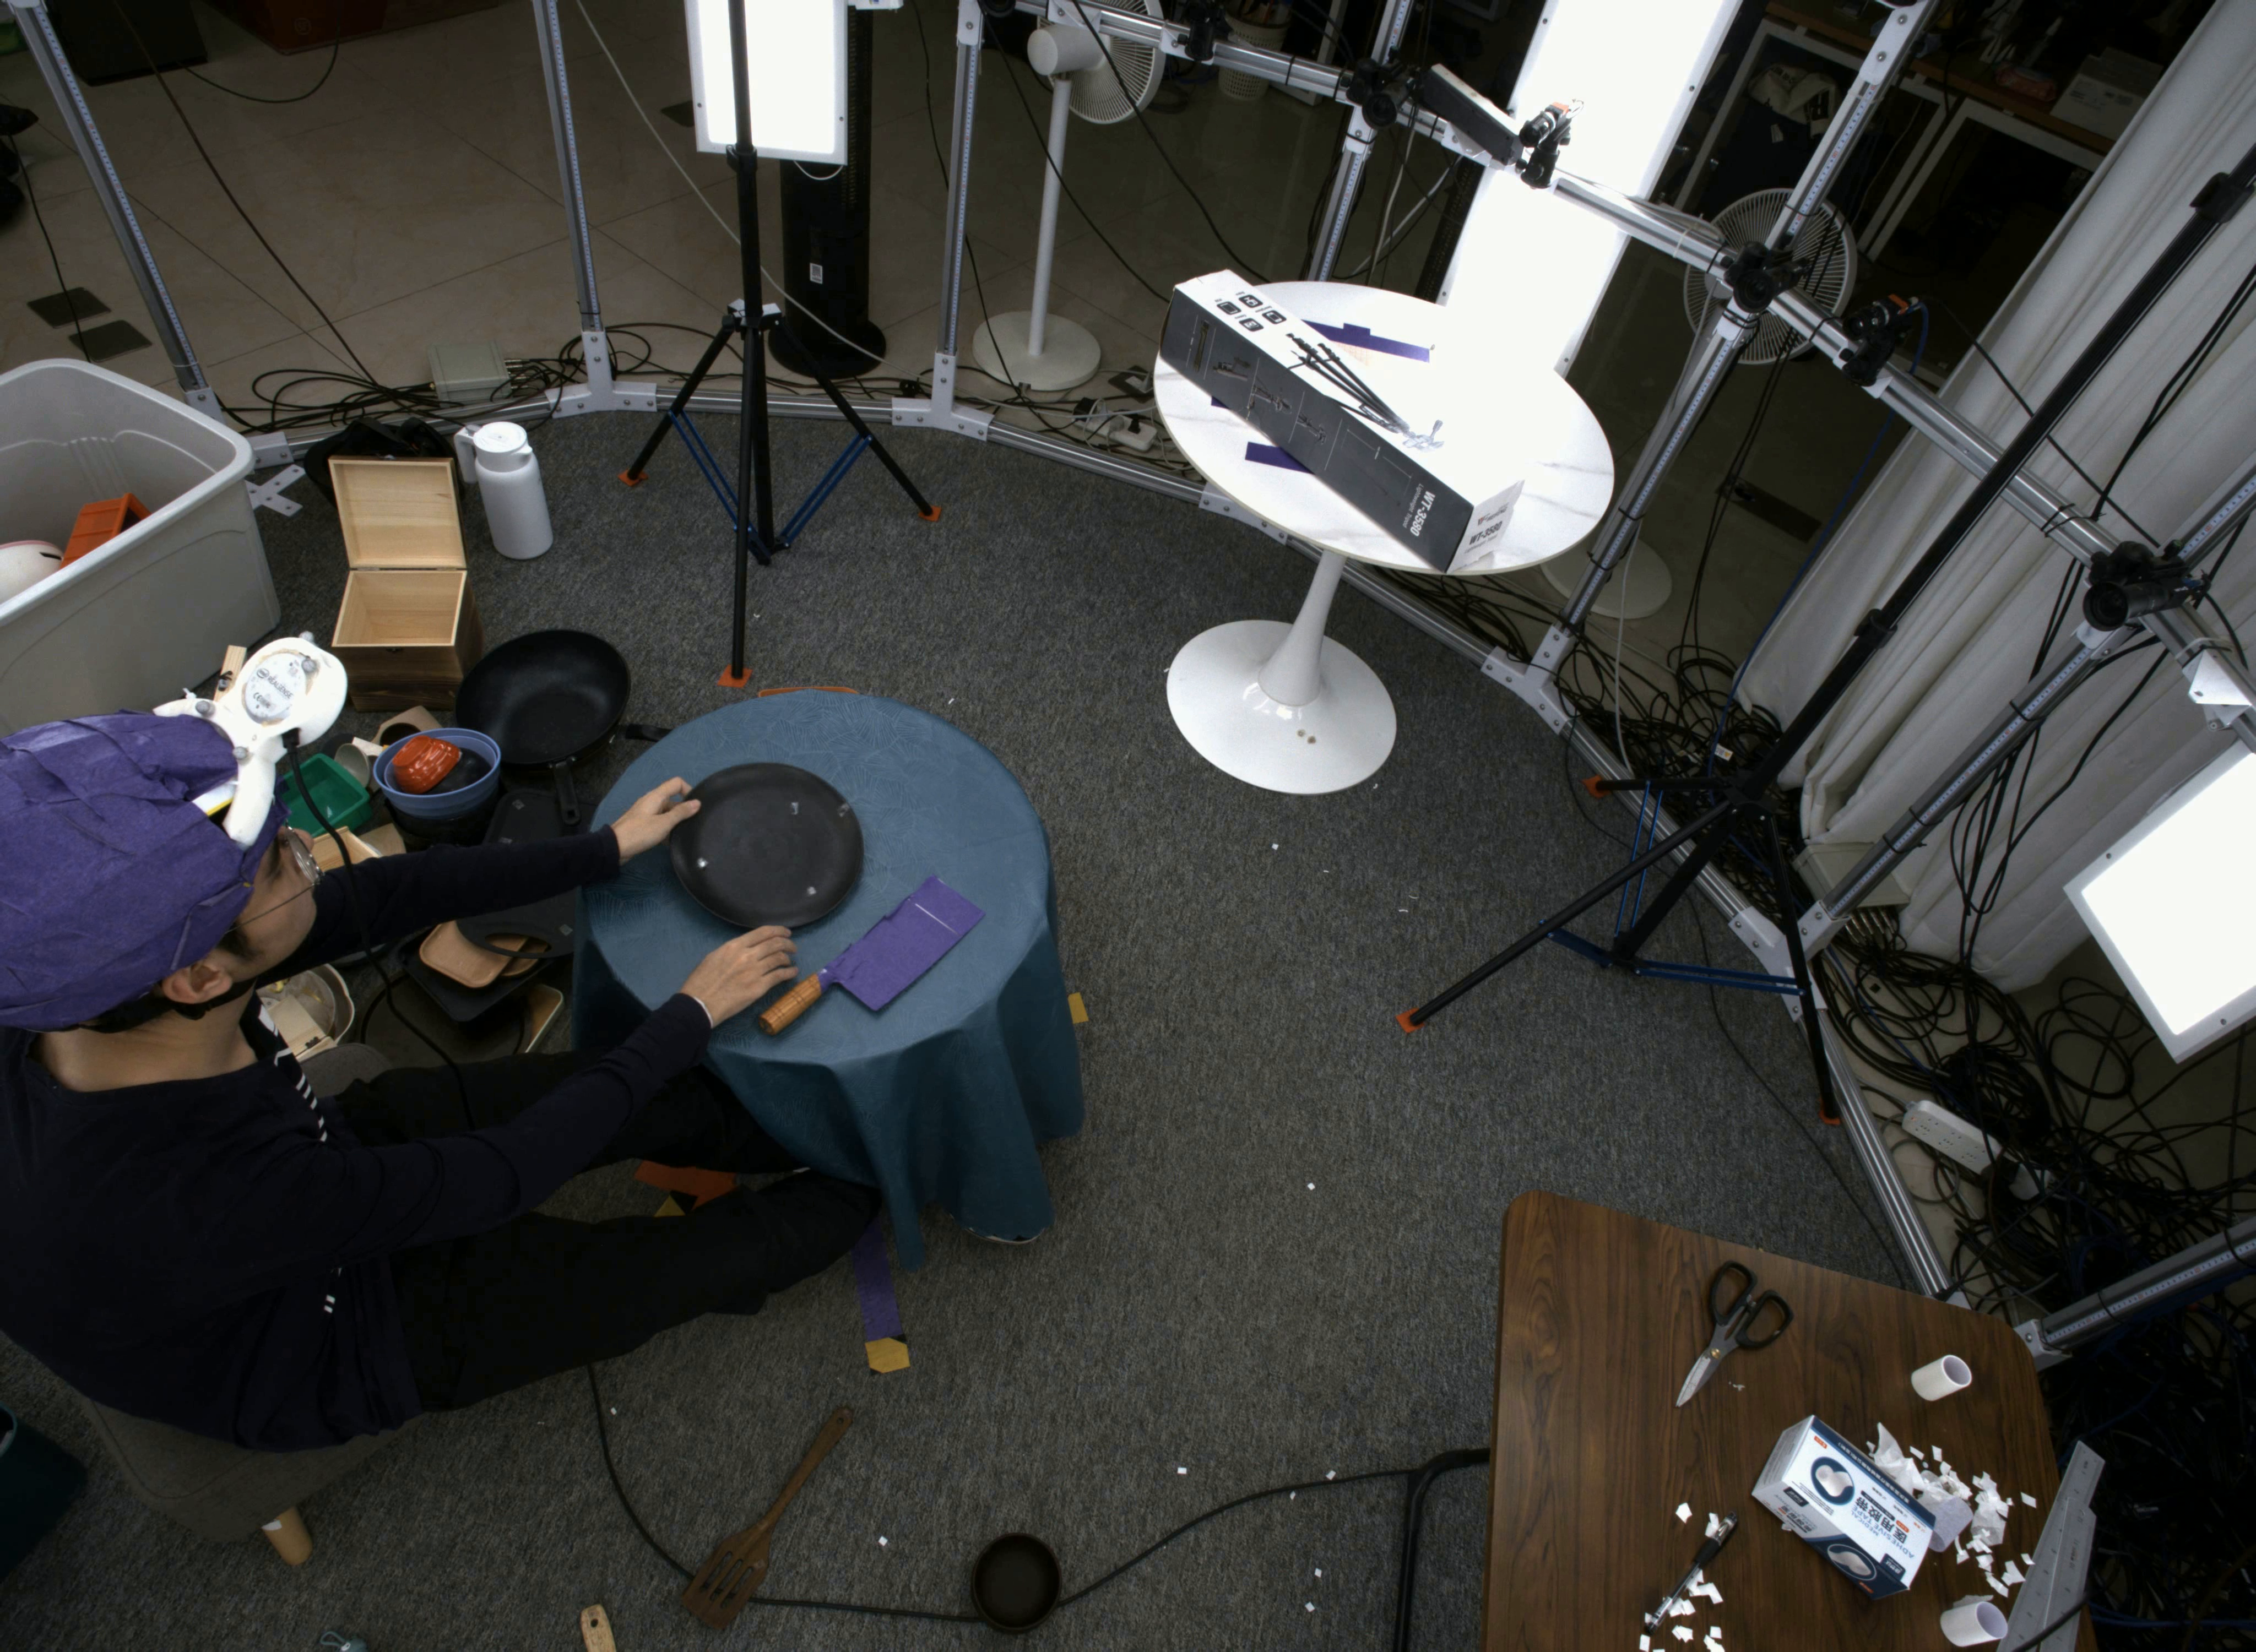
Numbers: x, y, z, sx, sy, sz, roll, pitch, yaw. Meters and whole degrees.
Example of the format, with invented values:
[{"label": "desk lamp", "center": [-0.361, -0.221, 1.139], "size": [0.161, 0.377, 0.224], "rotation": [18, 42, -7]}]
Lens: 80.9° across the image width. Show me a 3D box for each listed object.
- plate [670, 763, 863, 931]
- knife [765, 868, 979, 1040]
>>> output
[{"label": "plate", "center": [-0.464, 0.027, 1.669], "size": [0.246, 0.023, 0.241], "rotation": [11, 59, -17]}, {"label": "knife", "center": [-0.310, 0.168, 1.623], "size": [0.102, 0.033, 0.315], "rotation": [35, 53, 13]}]
